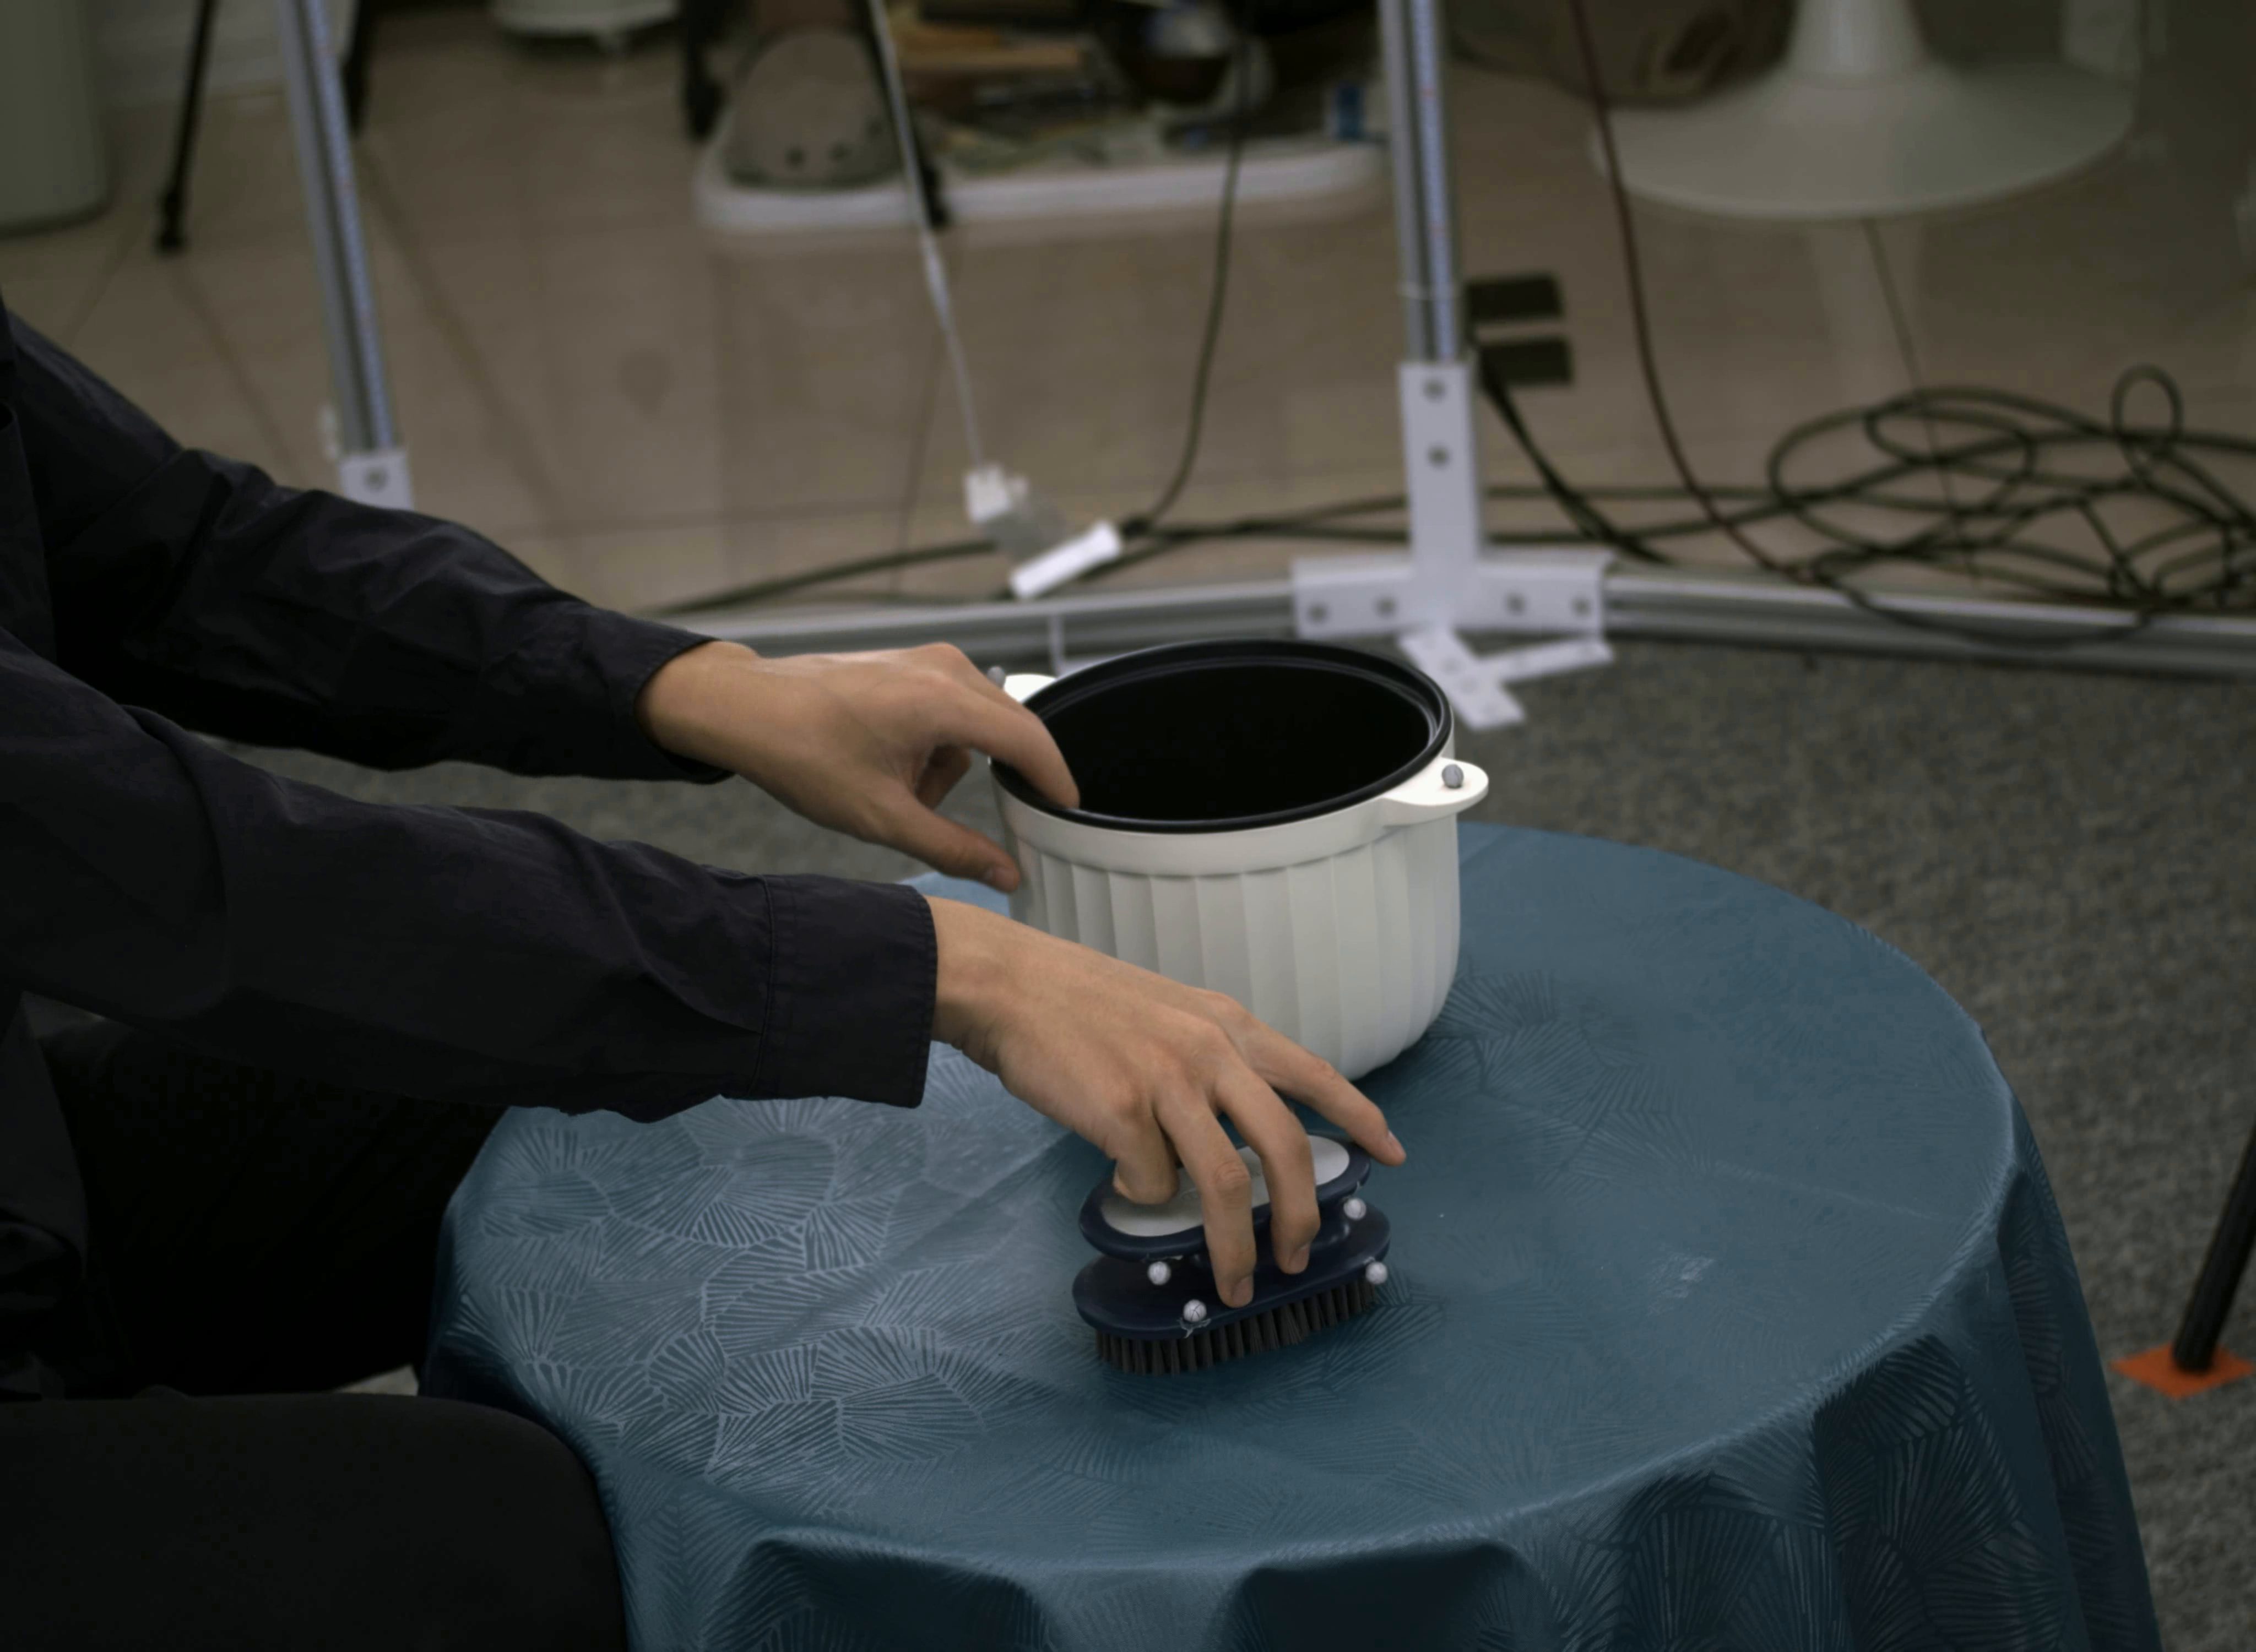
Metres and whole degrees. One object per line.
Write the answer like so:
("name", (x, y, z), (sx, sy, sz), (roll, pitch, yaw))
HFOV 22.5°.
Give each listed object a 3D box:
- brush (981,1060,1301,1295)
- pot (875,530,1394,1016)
("brush", (0.005, 0.129, 2.057), (0.121, 0.062, 0.067), (-12, 28, -19))
("pot", (0.008, -0.024, 2.258), (0.239, 0.145, 0.188), (14, 35, 32))
